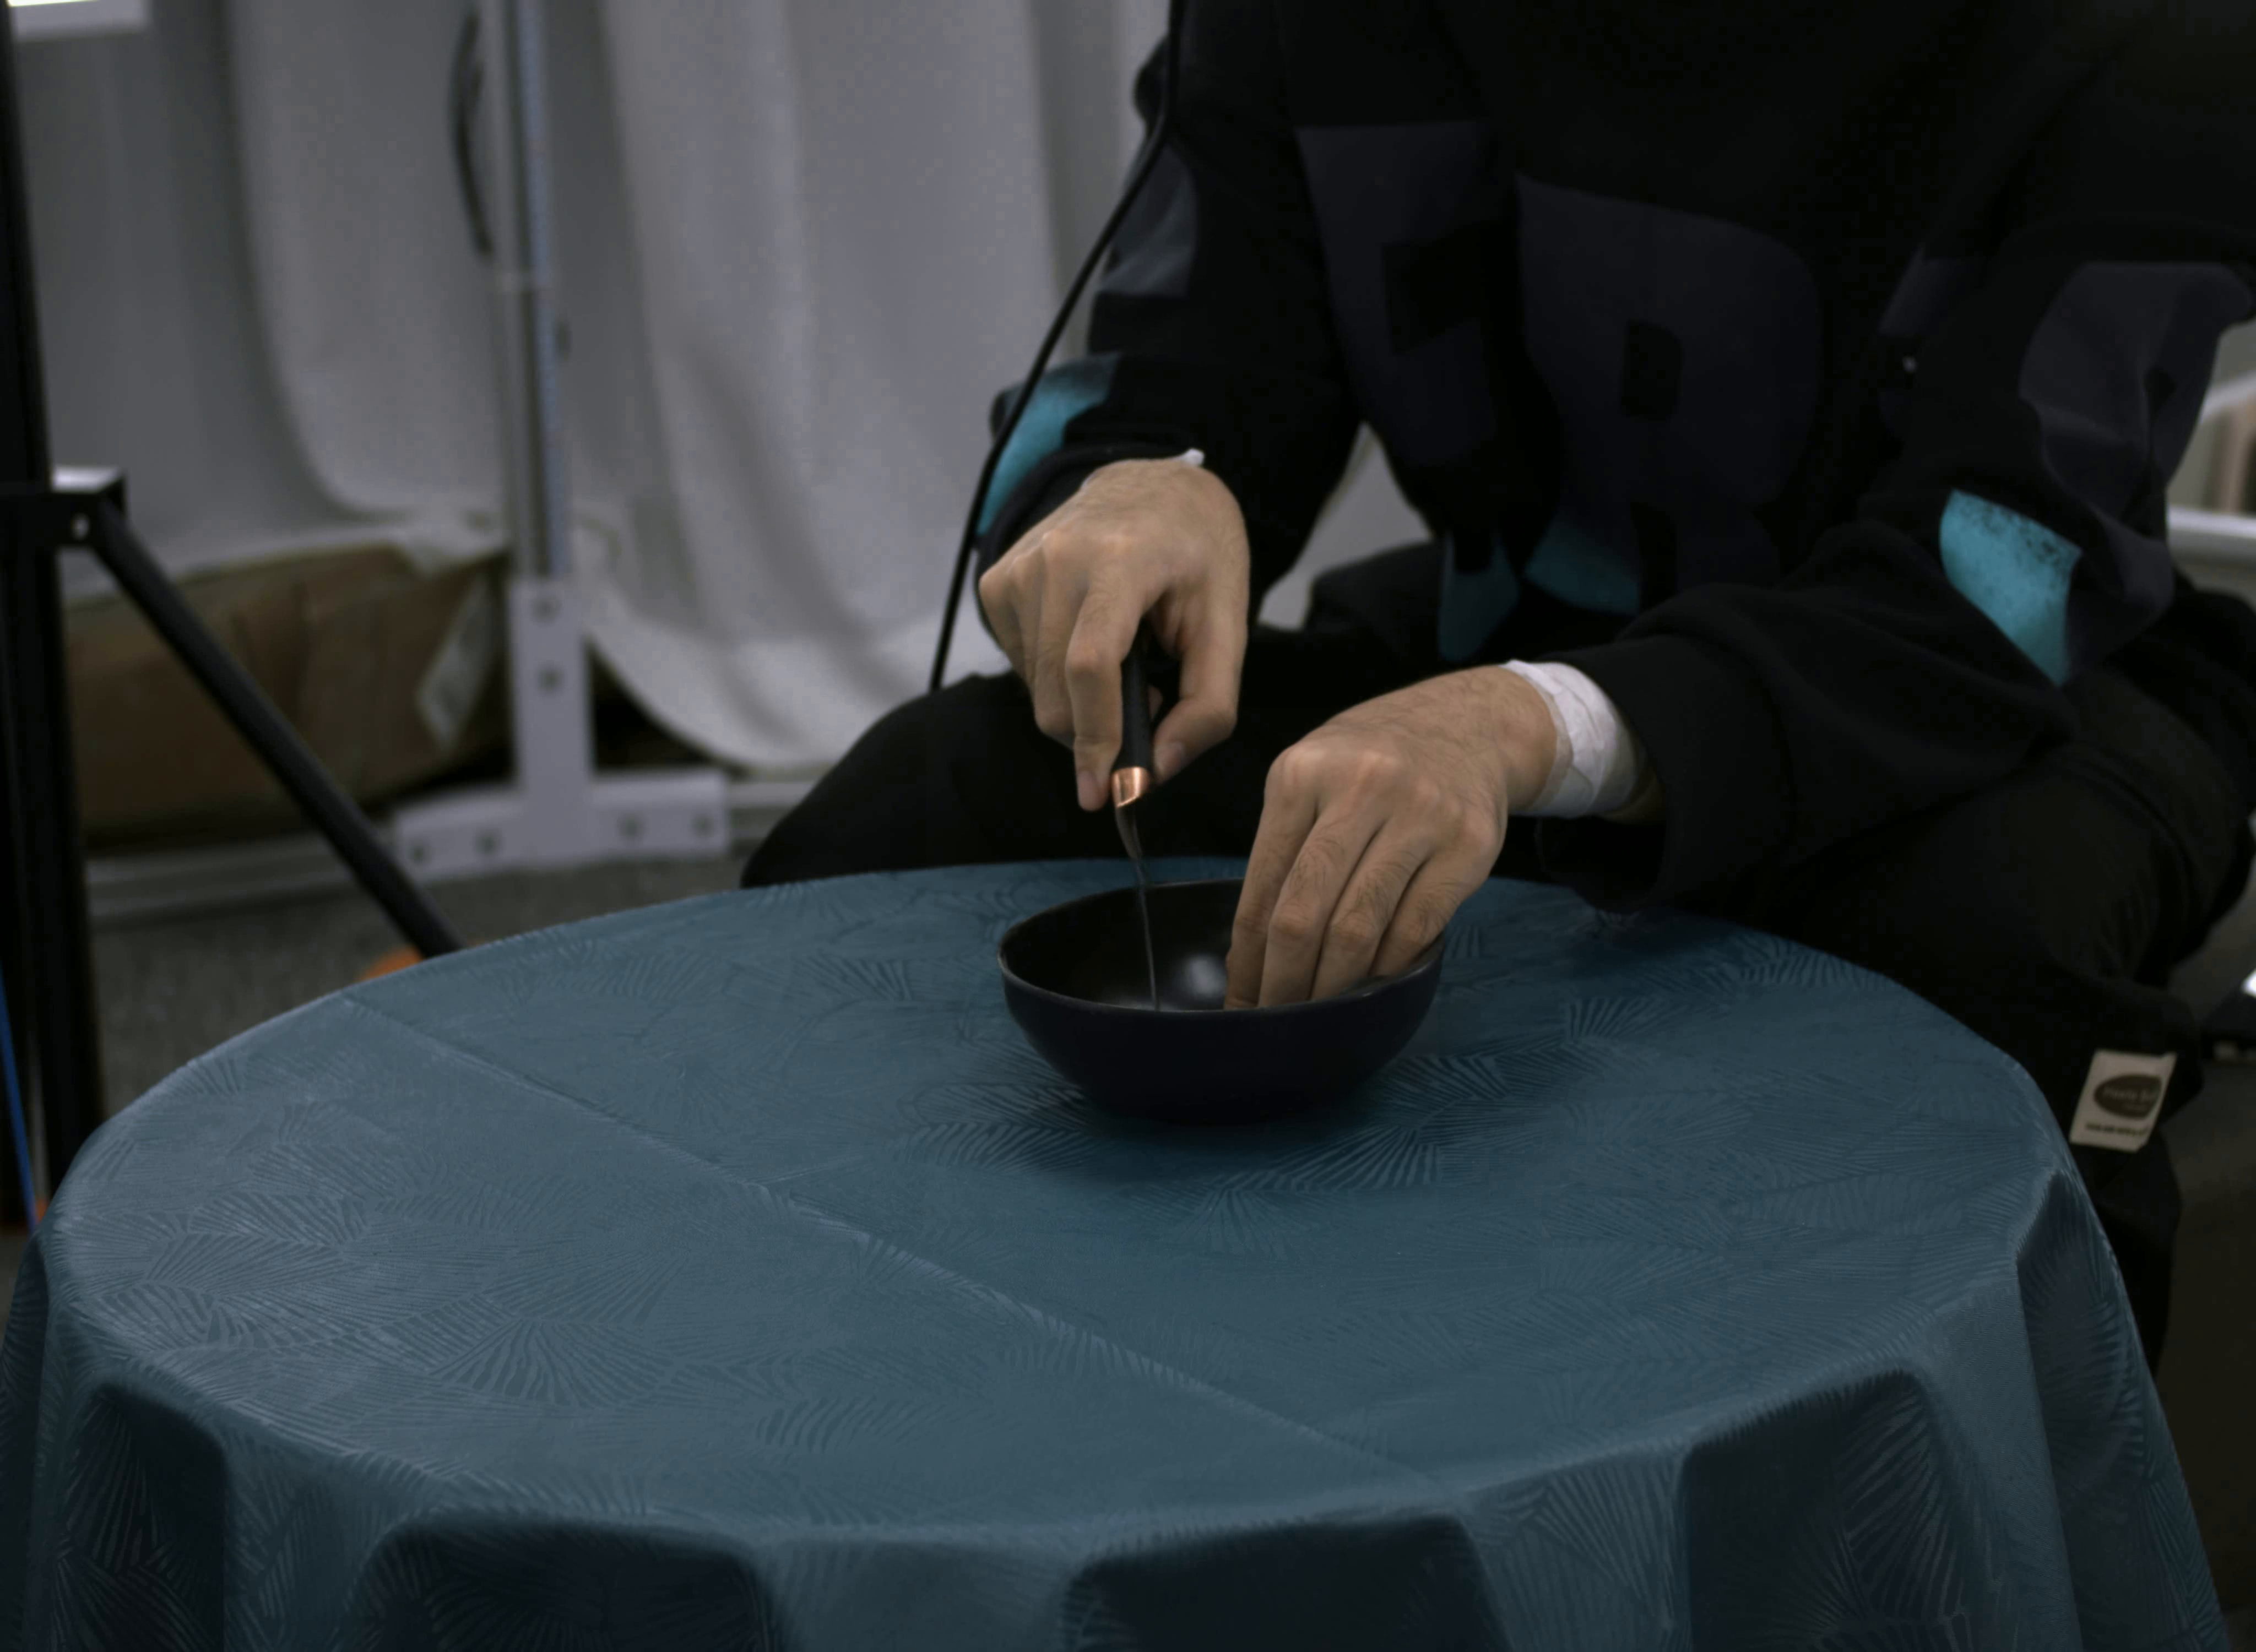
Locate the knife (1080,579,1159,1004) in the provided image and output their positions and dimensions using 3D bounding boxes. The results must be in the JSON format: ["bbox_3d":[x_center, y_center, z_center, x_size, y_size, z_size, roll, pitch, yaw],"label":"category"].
[{"bbox_3d":[0.002,0.005,1.689,0.017,0.026,0.228,-10,46,2],"label":"knife"}]

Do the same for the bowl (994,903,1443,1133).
[{"bbox_3d":[0.029,0.062,1.635,0.139,0.050,0.140,-3,11,-1],"label":"bowl"}]
